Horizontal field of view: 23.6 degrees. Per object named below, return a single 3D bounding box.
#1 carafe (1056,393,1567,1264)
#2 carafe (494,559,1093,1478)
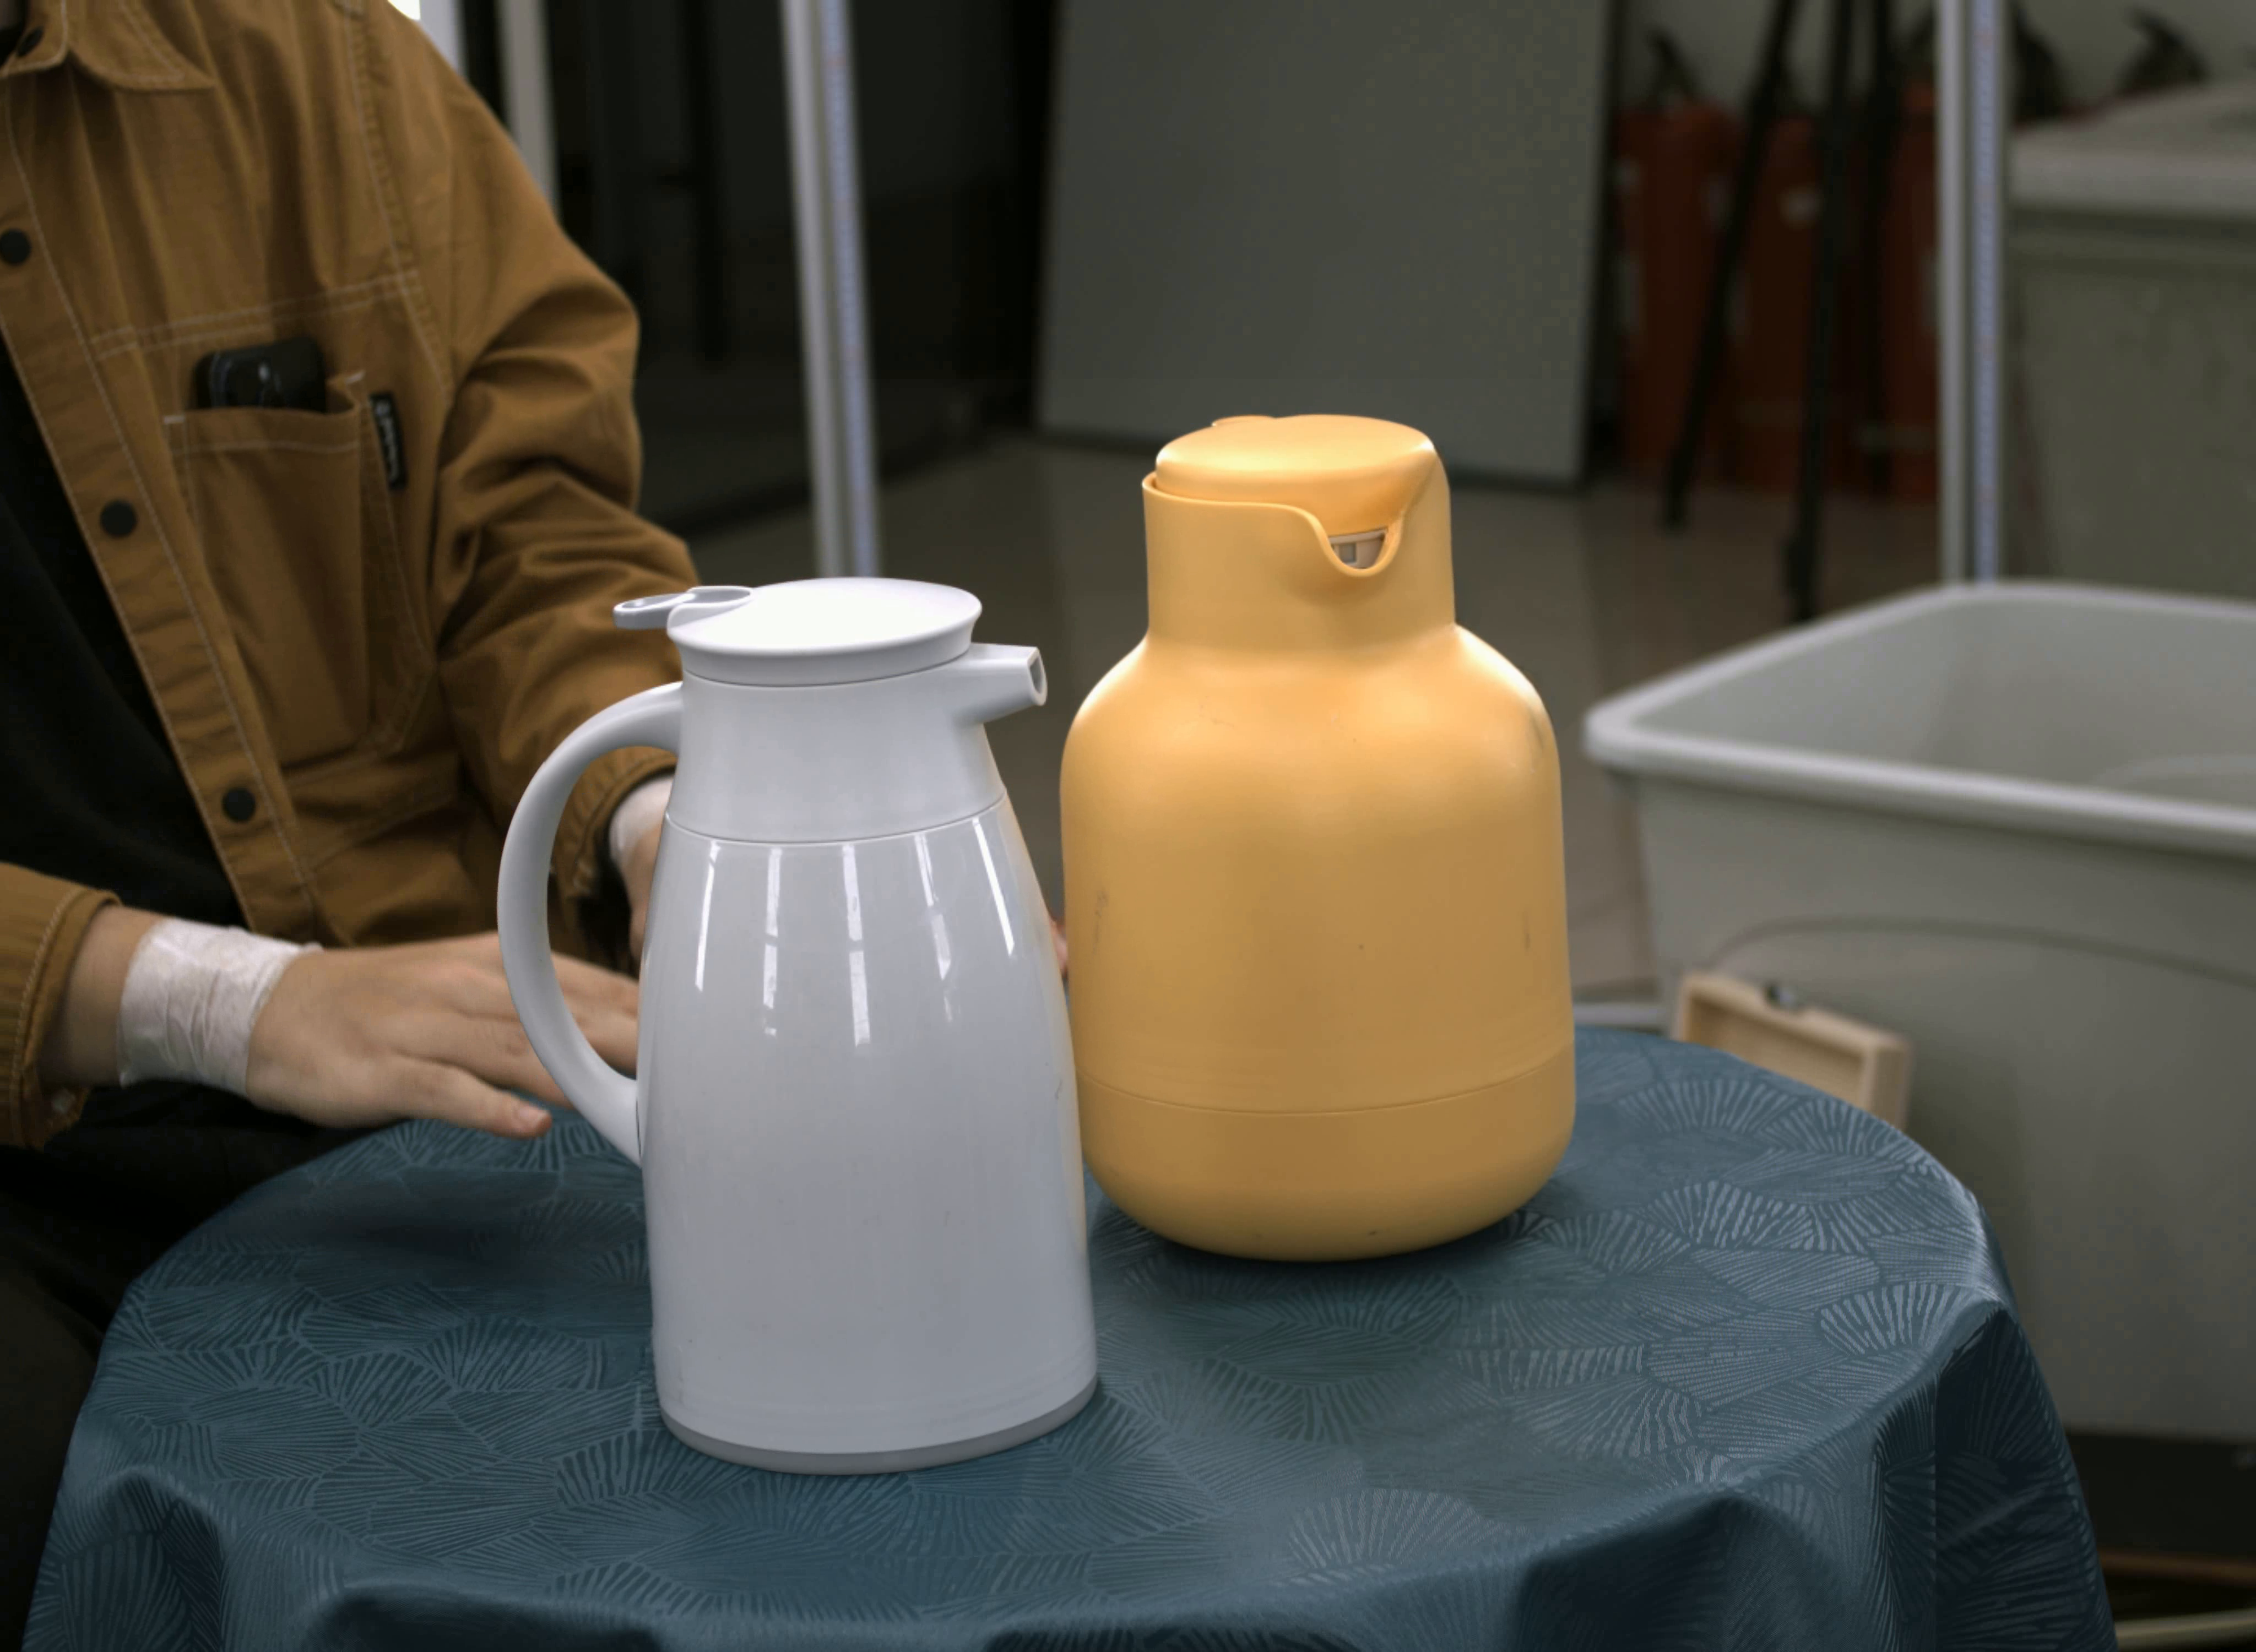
[{"bbox_3d":[0.054,-0.007,1.730,0.160,0.263,0.204,-5,15,-11],"label":"carafe"},{"bbox_3d":[-0.100,0.050,1.573,0.166,0.251,0.132,-2,14,10],"label":"carafe"}]
